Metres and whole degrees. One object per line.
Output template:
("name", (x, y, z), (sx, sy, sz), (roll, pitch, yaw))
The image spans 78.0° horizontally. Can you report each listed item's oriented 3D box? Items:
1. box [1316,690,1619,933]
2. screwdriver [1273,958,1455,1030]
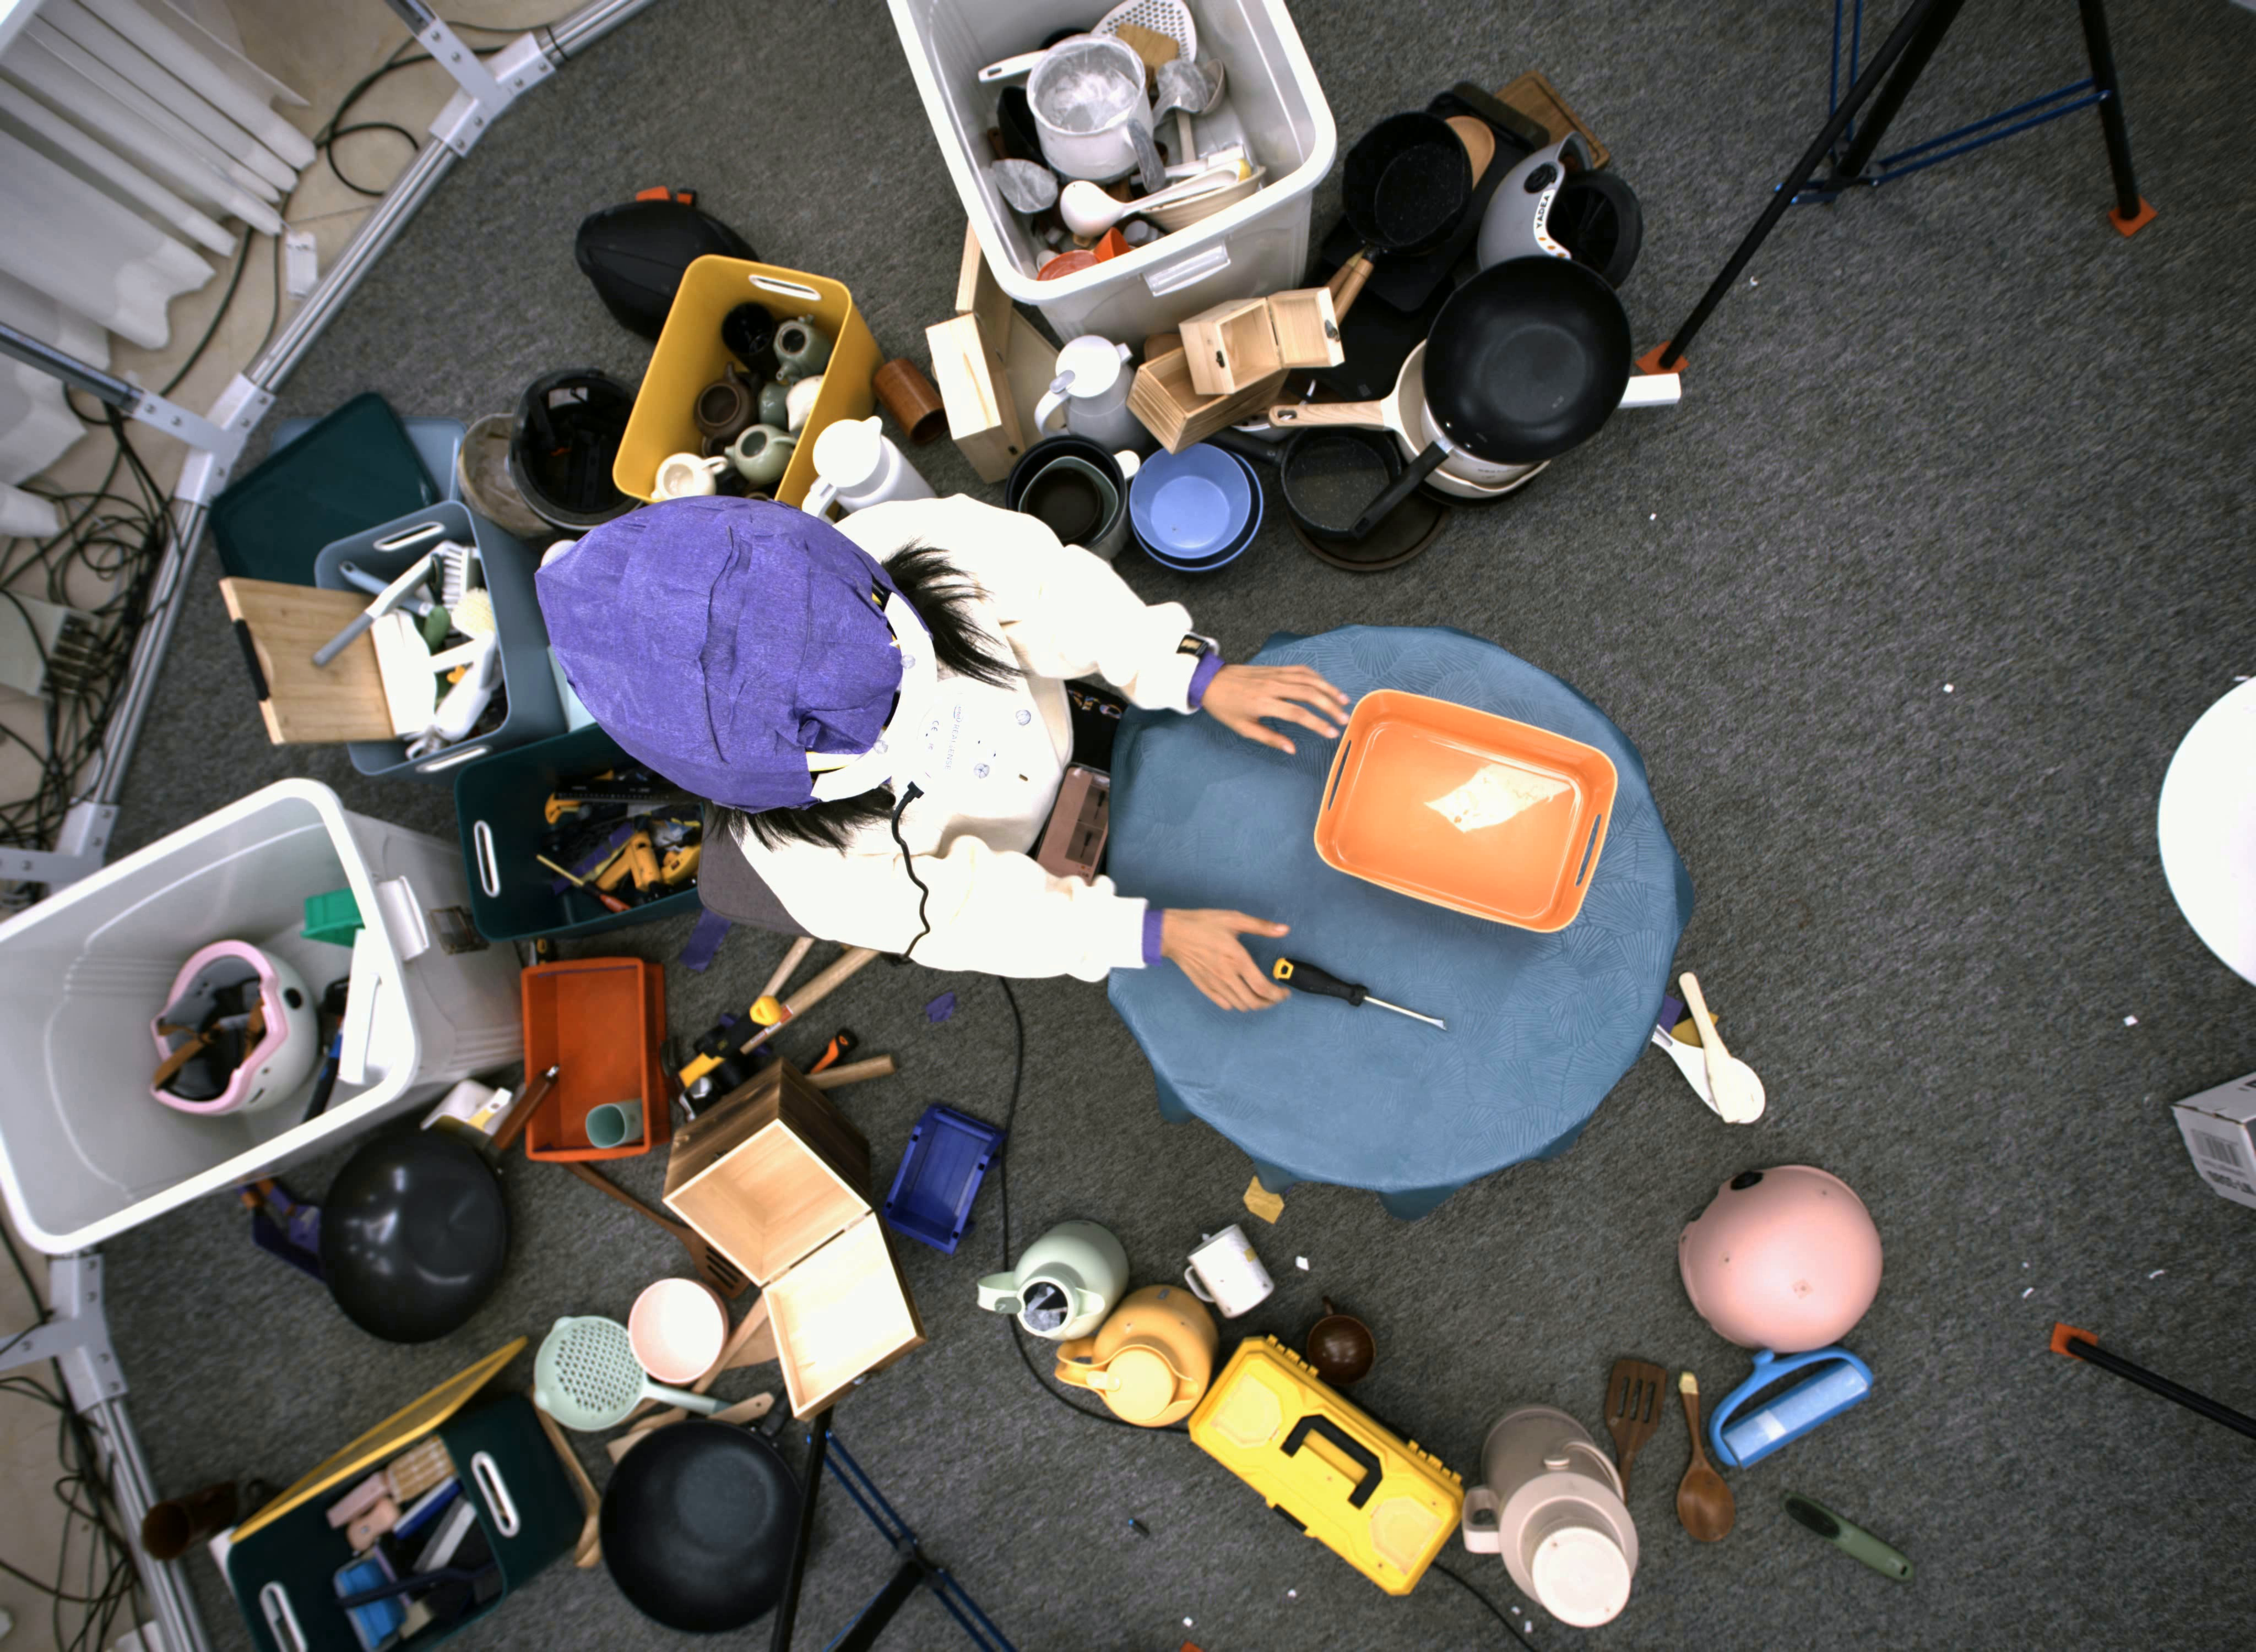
("box", (0.340, -0.014, 1.399), (0.273, 0.102, 0.199), (17, 90, 11))
("screwdriver", (0.246, 0.180, 1.448), (0.198, 0.031, 0.031), (21, 89, 8))
